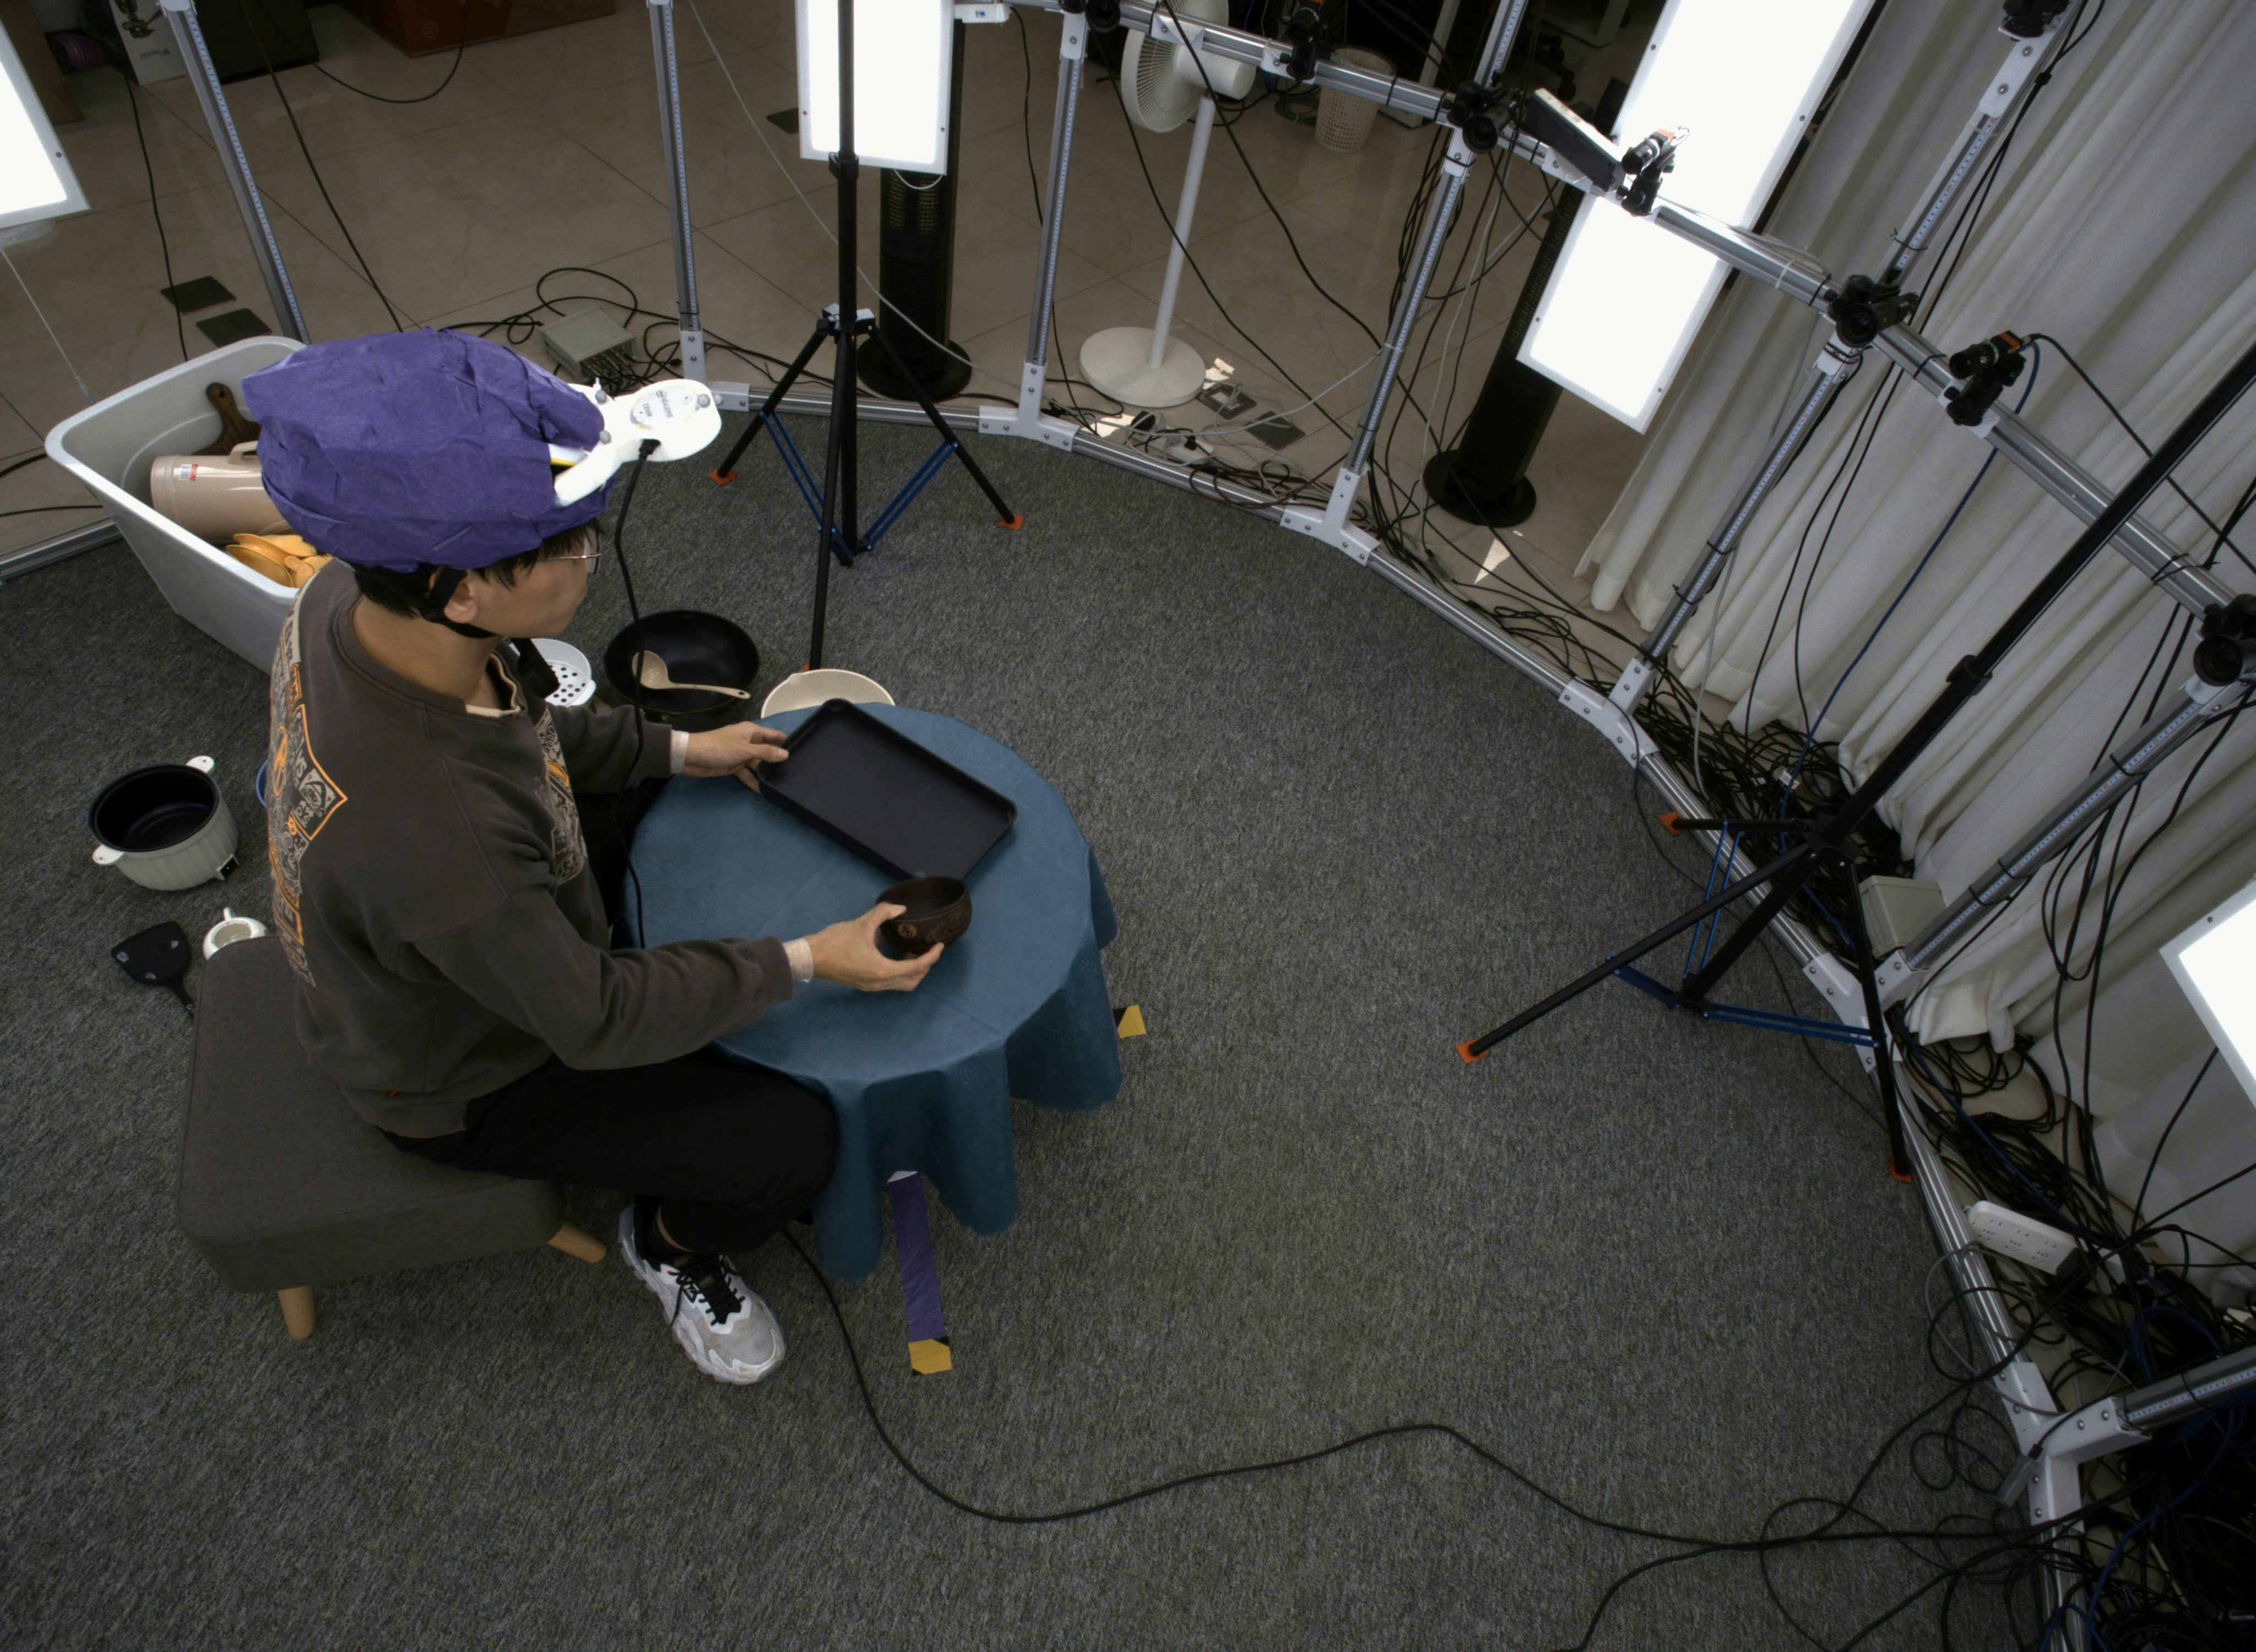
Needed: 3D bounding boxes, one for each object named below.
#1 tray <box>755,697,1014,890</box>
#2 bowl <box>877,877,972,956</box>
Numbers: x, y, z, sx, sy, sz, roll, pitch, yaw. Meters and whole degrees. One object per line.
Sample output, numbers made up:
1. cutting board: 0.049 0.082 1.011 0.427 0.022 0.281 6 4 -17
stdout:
1. tray: -0.329 -0.040 1.761 0.314 0.037 0.183 30 54 5
2. bowl: -0.251 0.117 1.630 0.116 0.072 0.116 -9 20 5
